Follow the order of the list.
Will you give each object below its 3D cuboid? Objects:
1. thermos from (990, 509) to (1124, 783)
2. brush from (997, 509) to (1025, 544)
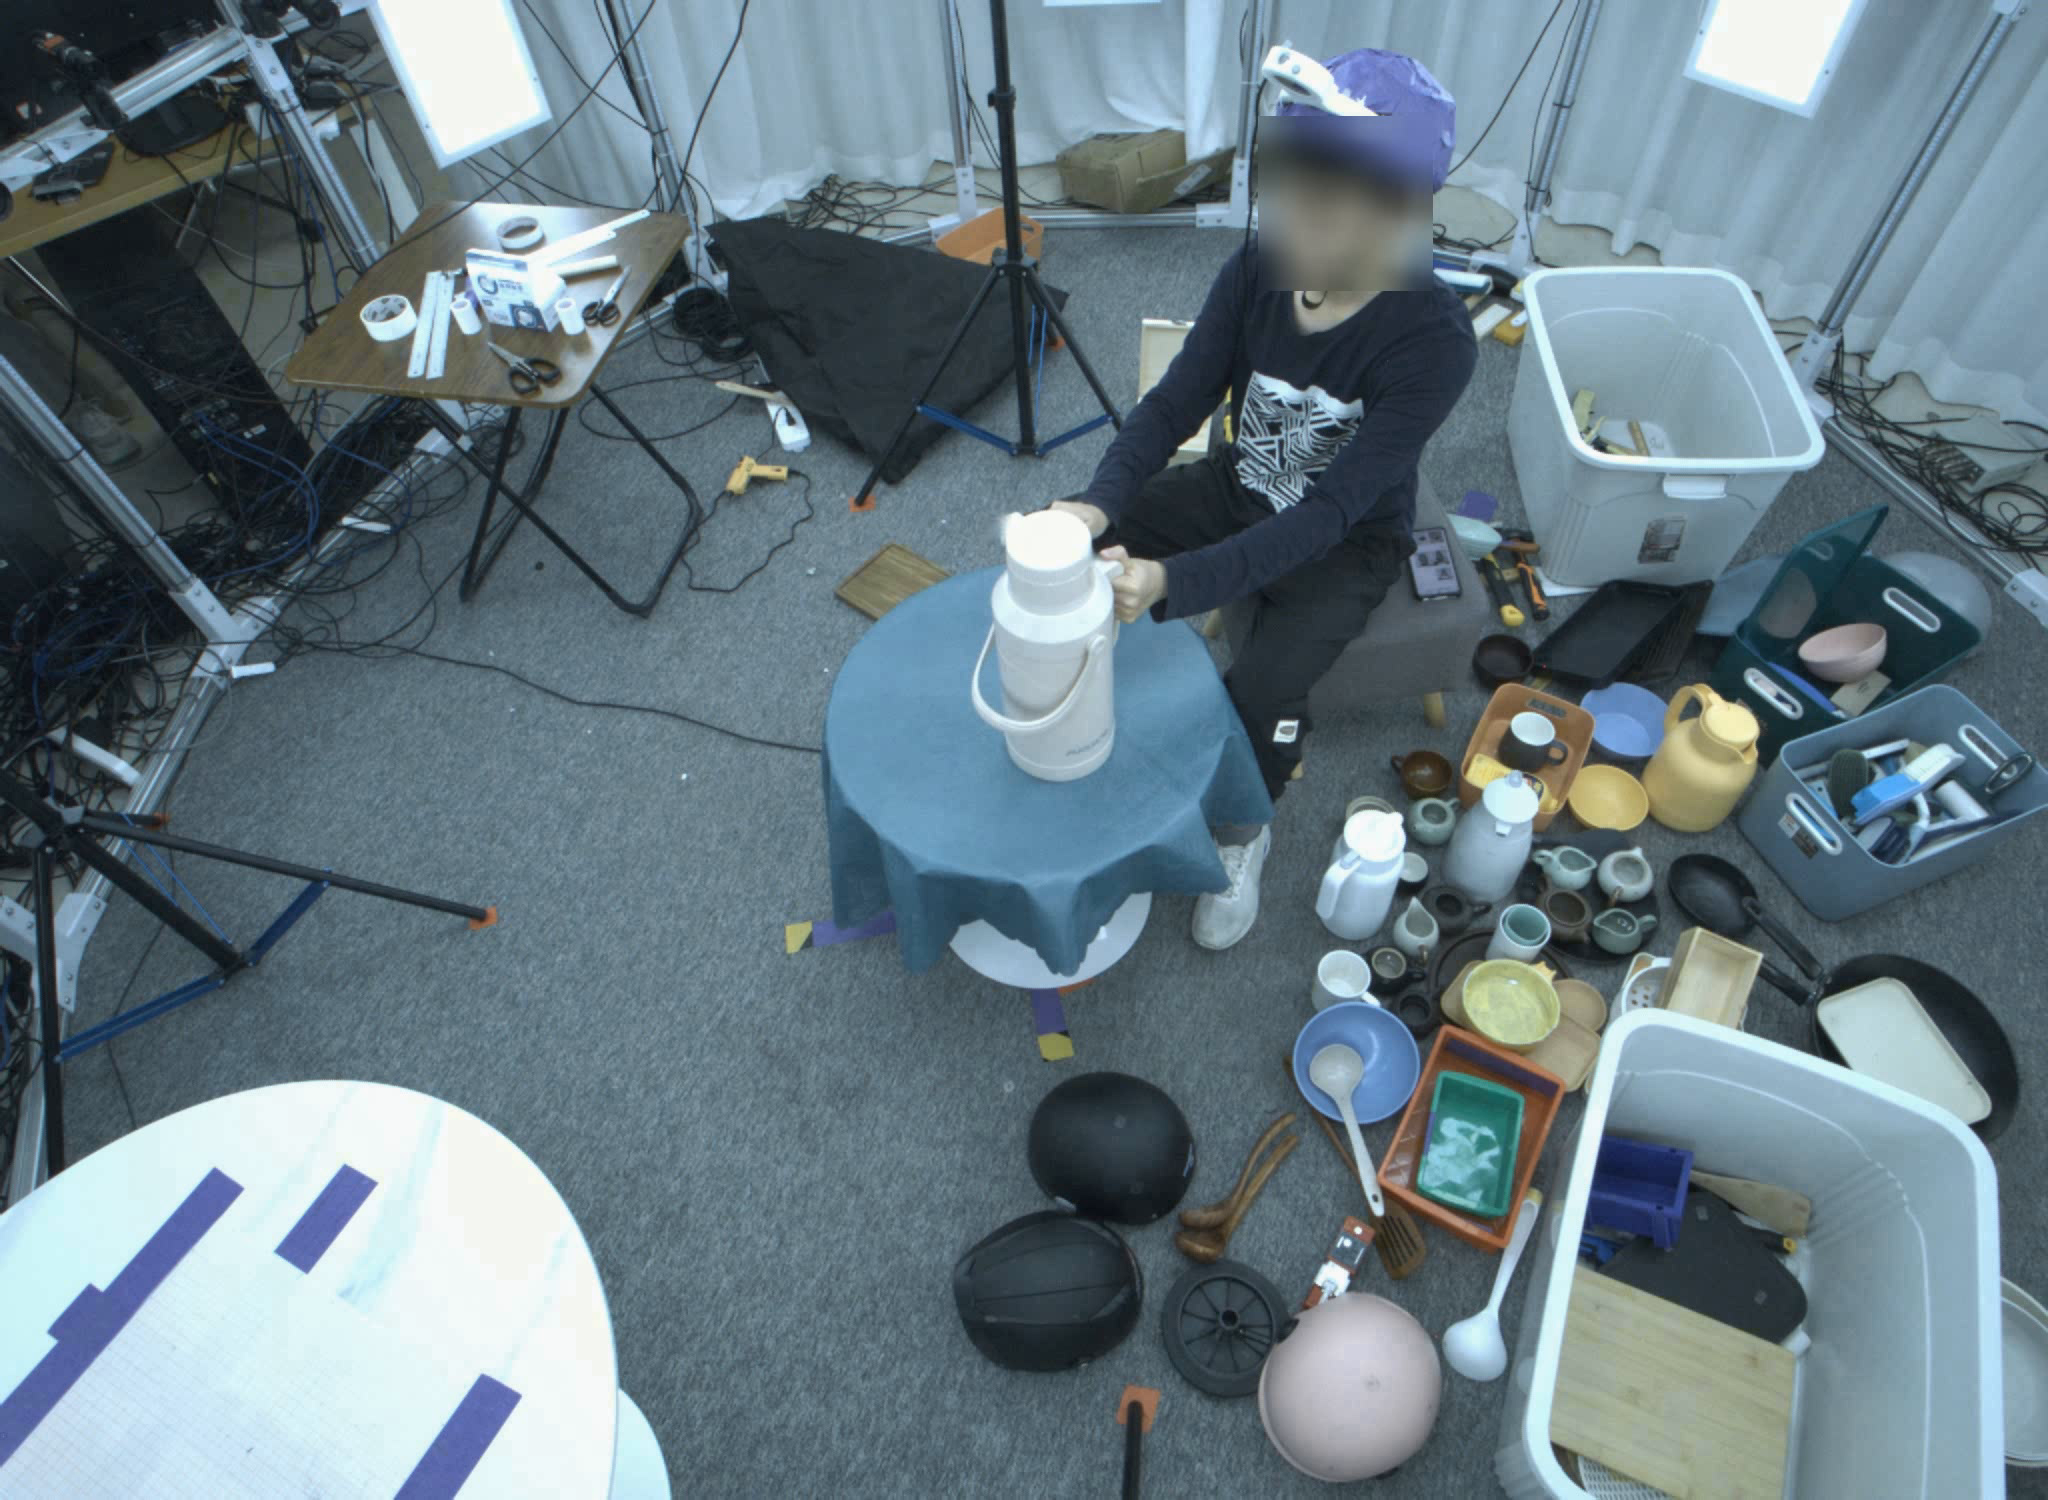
[{"bbox_3d":[0.052,-0.141,1.633,0.208,0.411,0.172,-39,59,-22],"label":"thermos"},{"bbox_3d":[0.030,-0.284,1.648,0.034,0.247,0.050,-30,81,22],"label":"brush"}]
